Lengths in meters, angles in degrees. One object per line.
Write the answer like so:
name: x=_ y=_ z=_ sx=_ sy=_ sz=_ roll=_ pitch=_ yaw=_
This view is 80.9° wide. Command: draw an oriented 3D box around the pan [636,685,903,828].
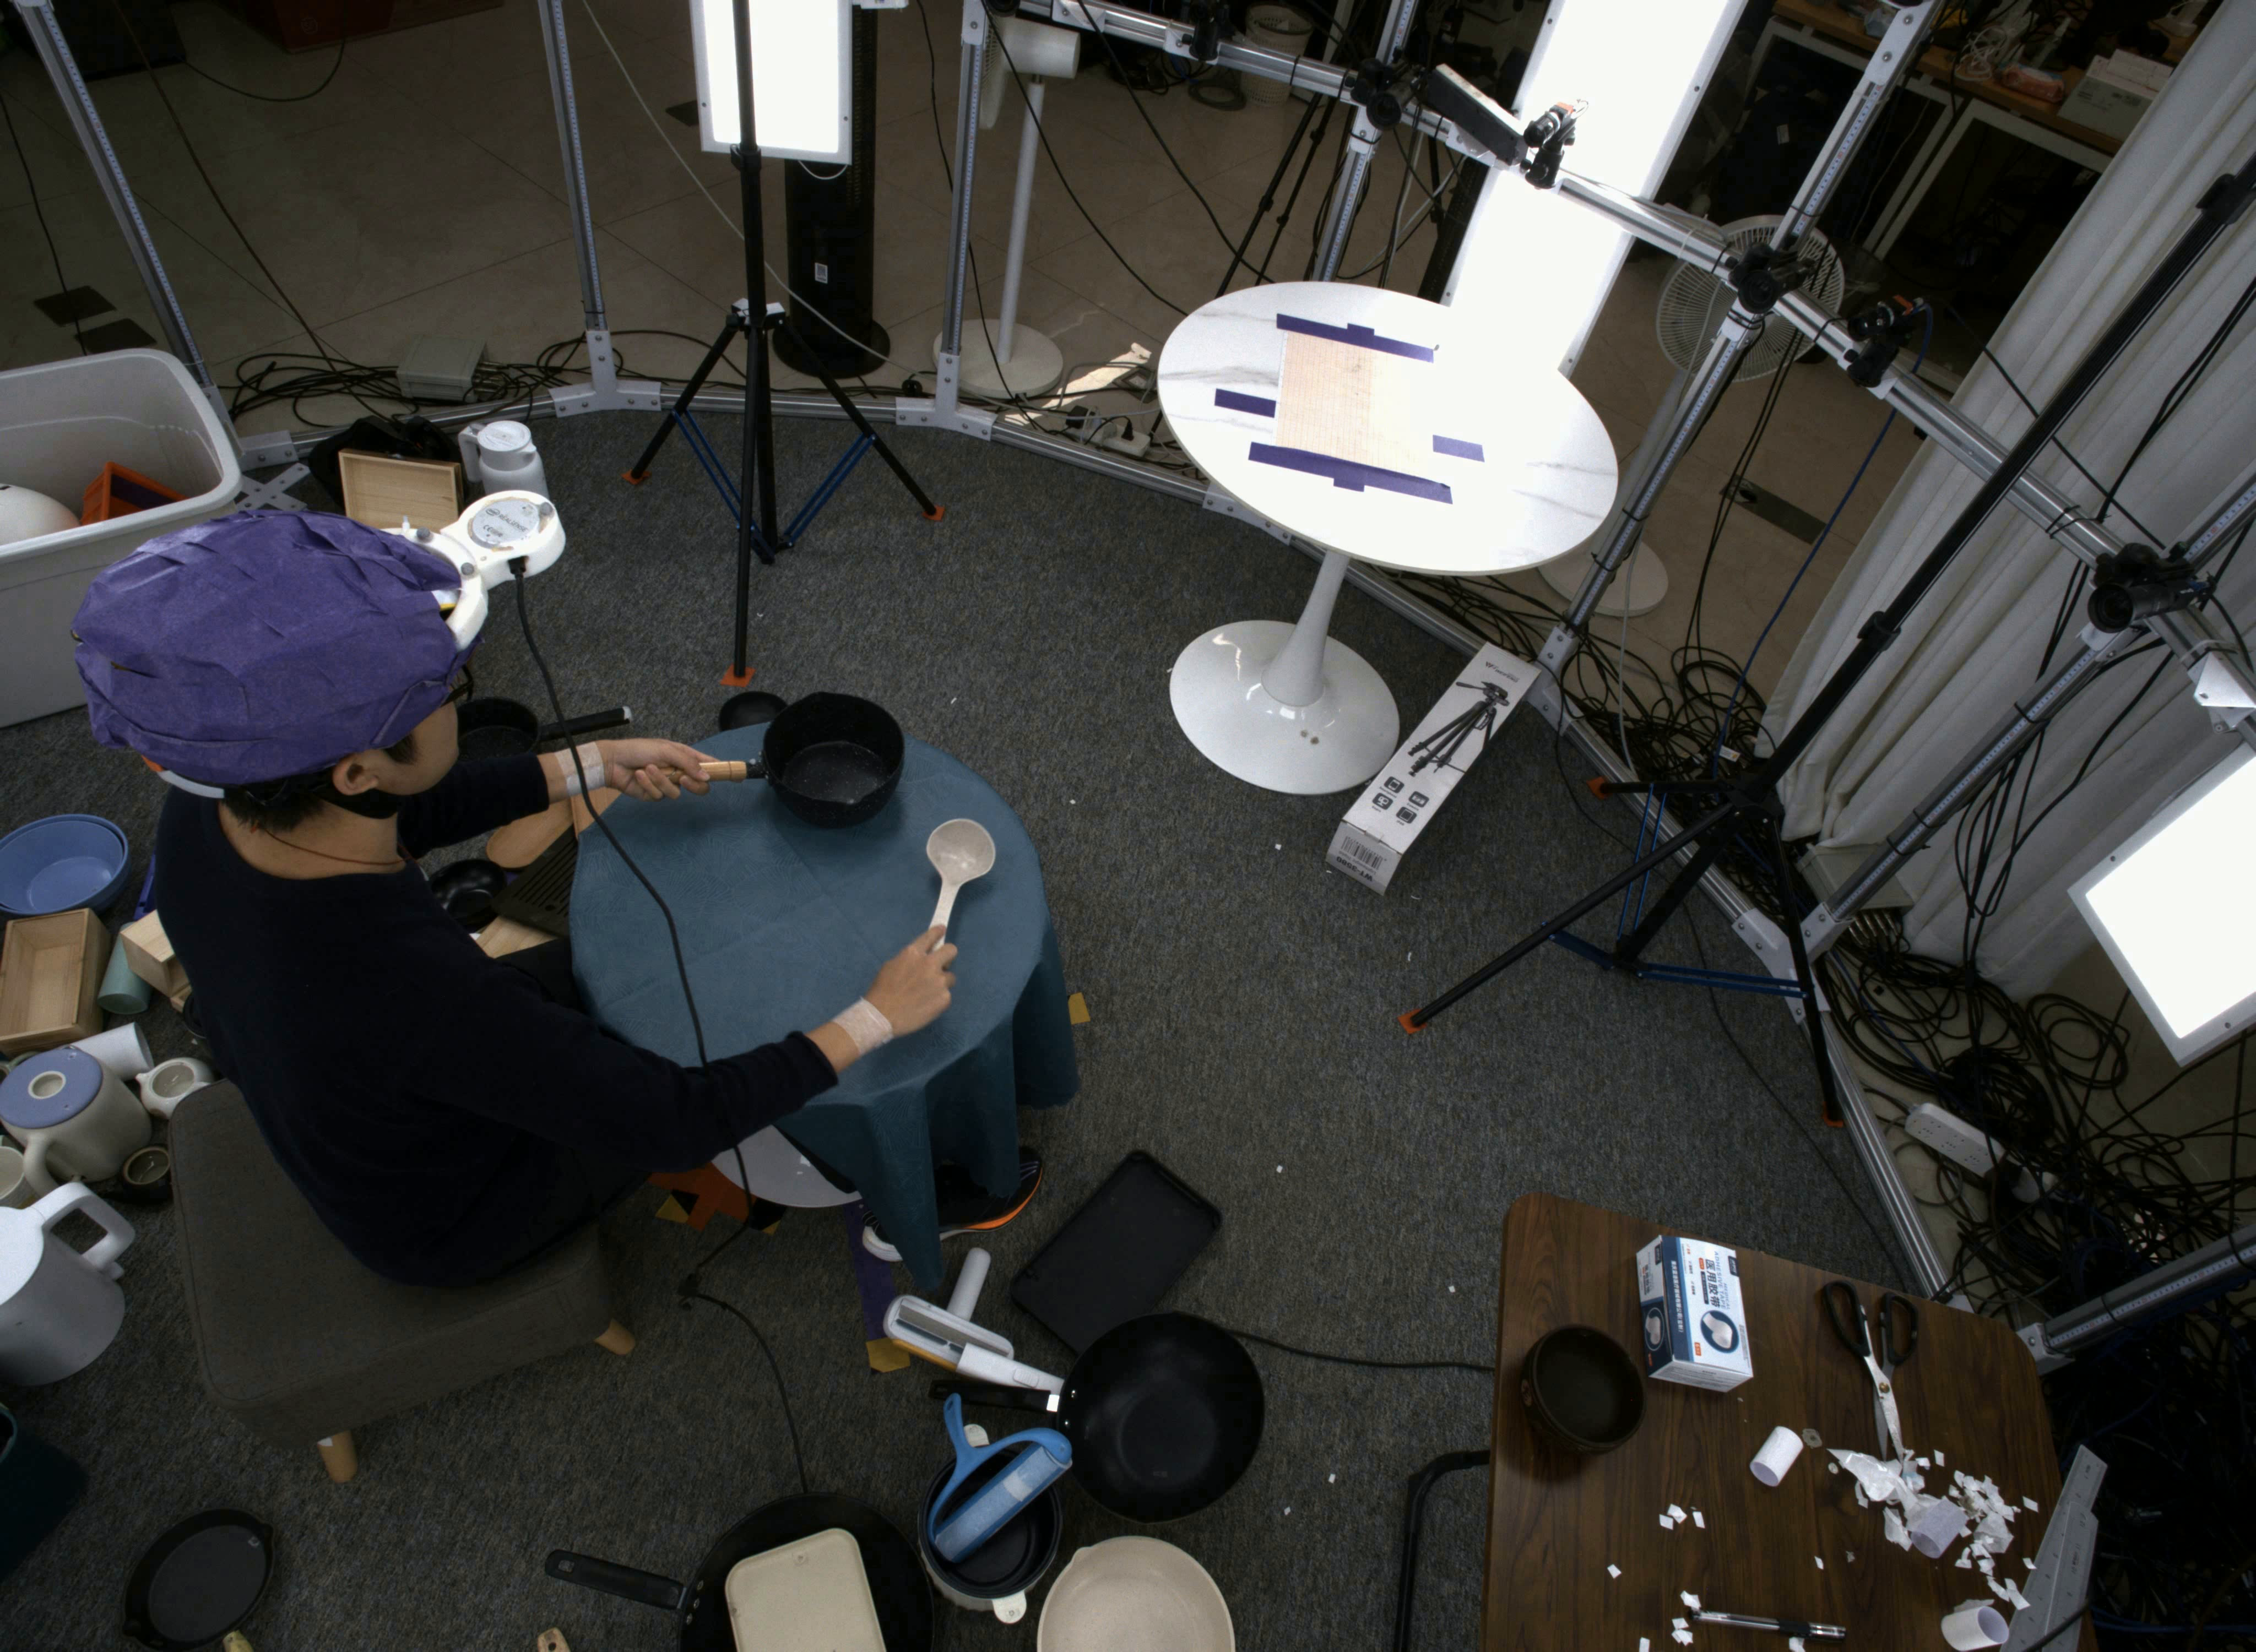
pan: x=-0.464 y=-0.072 z=1.688 sx=0.344 sy=0.110 sz=0.202 roll=-14 pitch=59 yaw=-24

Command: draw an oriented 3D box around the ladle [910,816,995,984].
ladle: x=-0.223 y=0.083 z=1.598 sx=0.090 sy=0.070 sz=0.270 roll=24 pitch=30 yaw=-10
